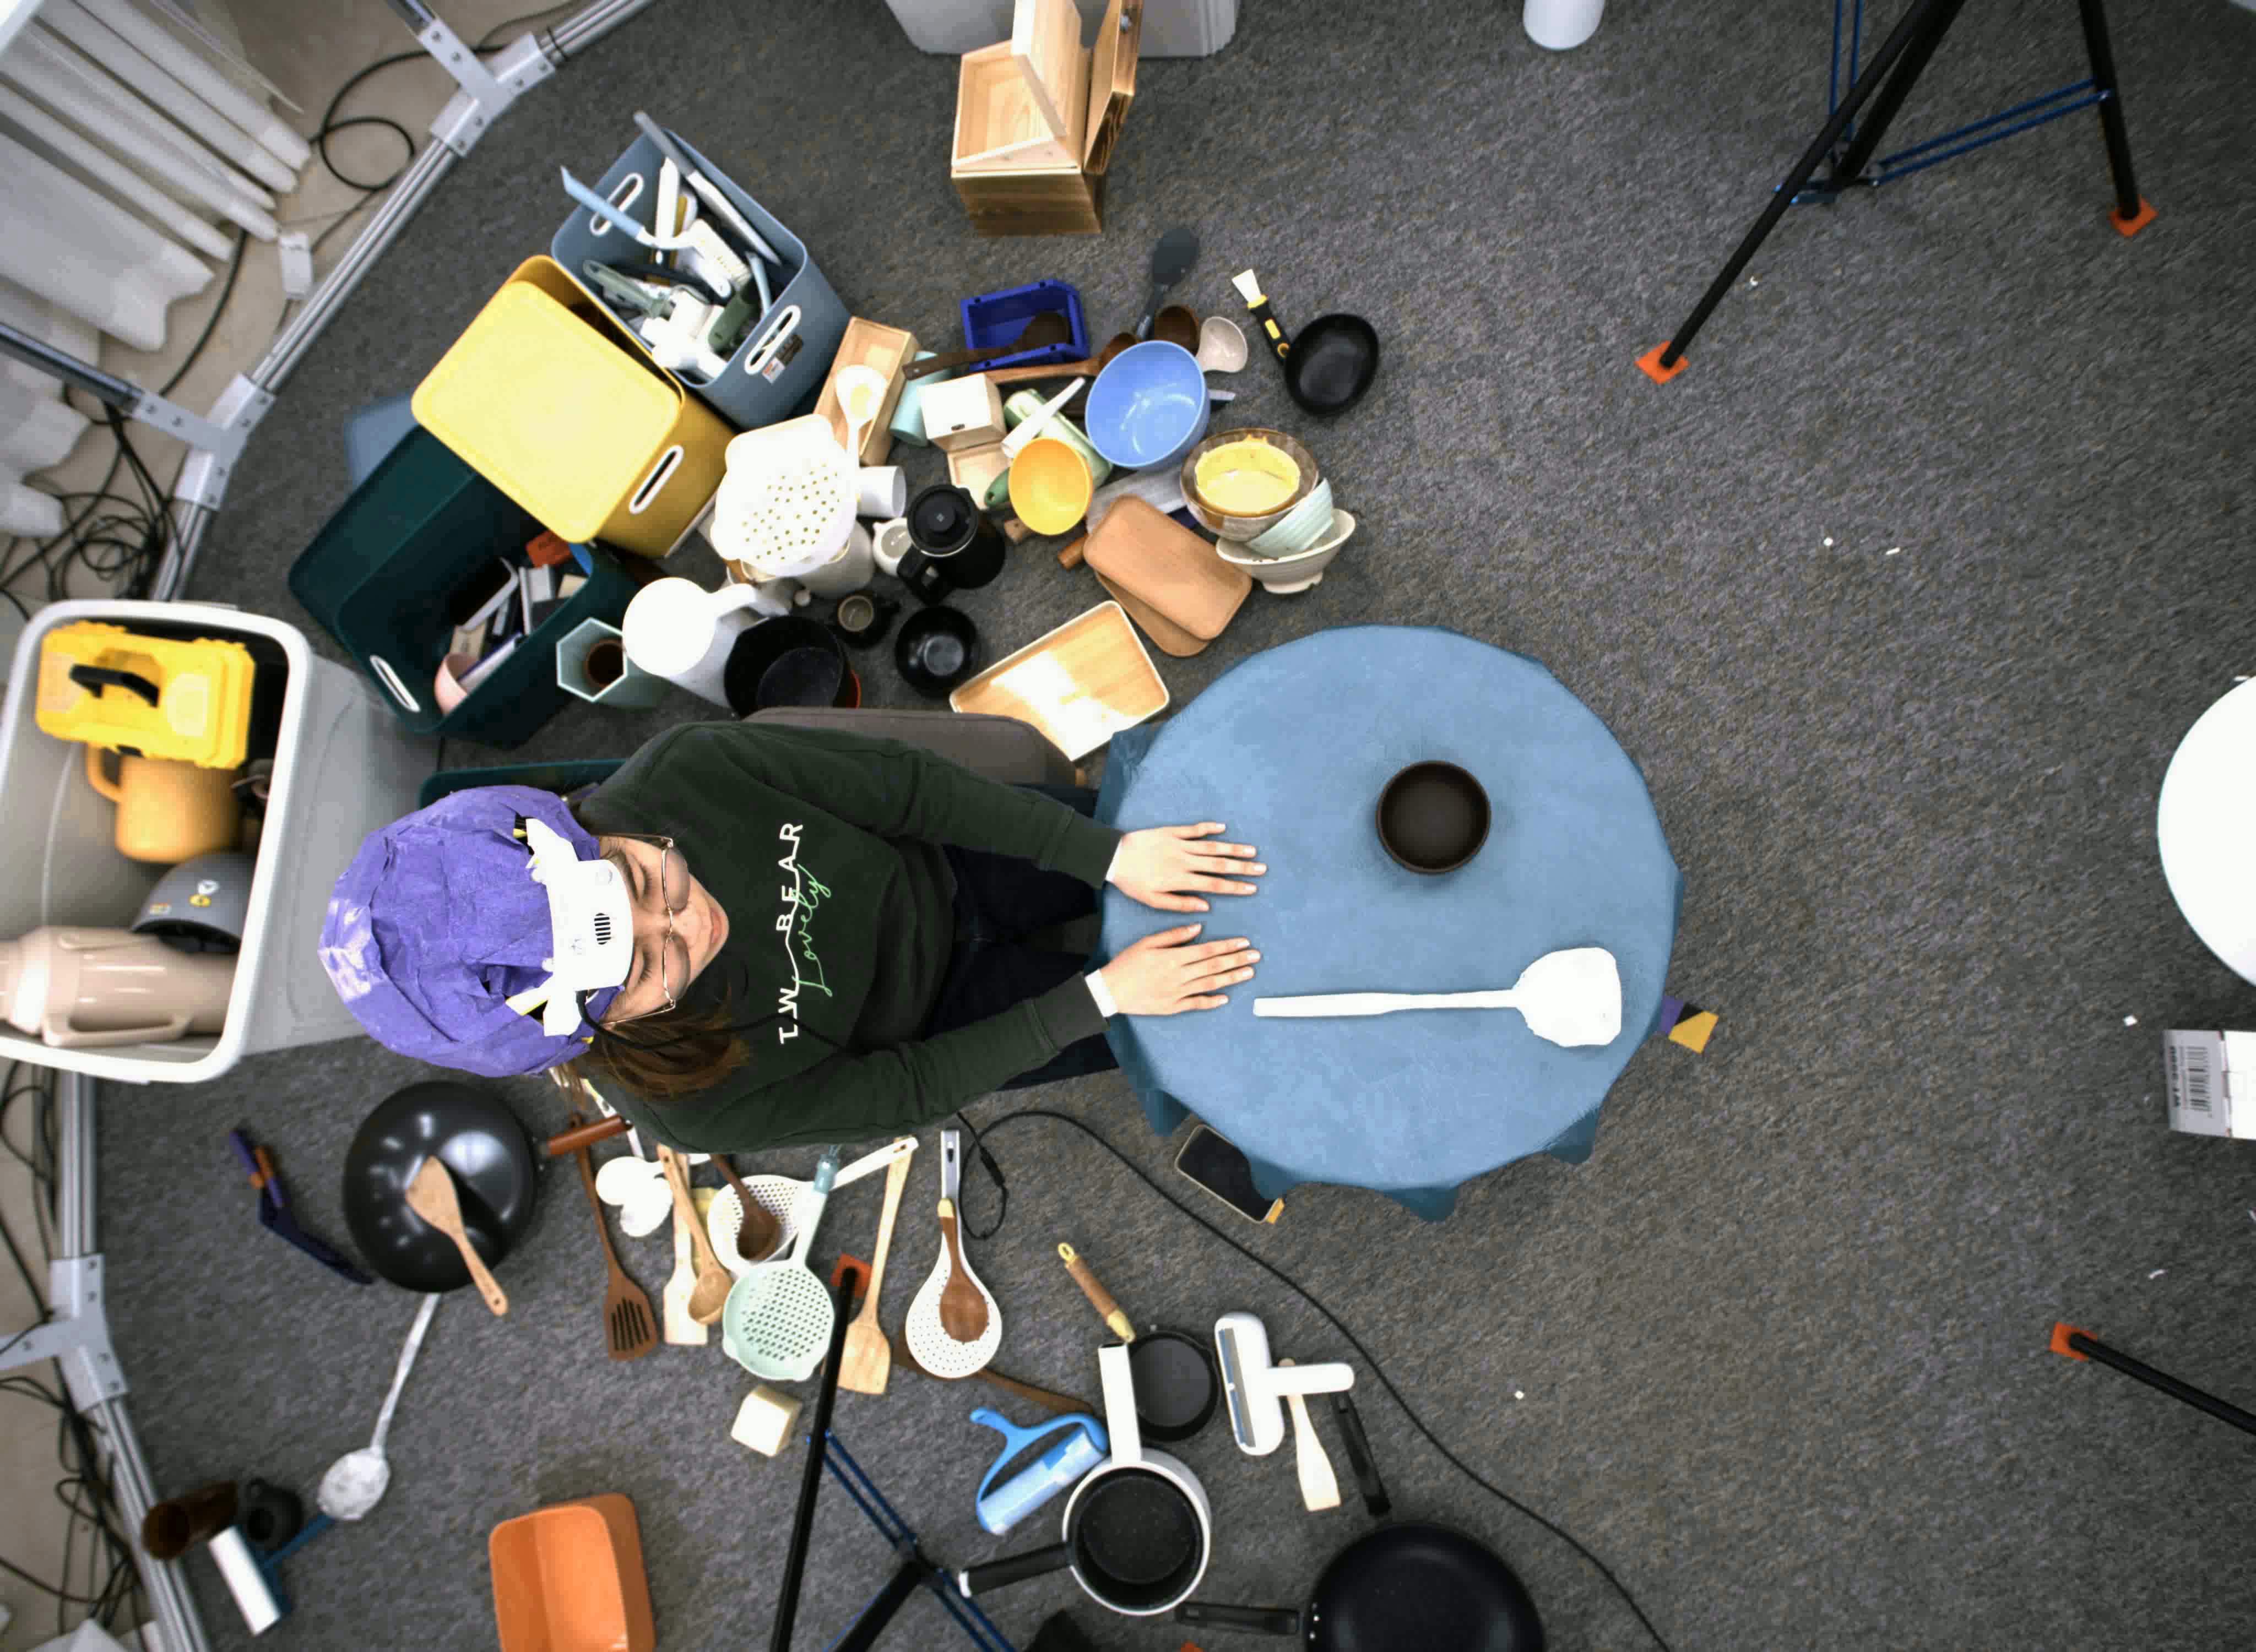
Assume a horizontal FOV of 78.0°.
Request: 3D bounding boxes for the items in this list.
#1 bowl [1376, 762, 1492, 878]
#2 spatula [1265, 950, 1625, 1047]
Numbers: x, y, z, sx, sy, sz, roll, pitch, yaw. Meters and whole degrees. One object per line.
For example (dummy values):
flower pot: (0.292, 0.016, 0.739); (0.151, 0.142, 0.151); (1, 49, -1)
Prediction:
bowl: (0.316, -0.005, 1.425); (0.118, 0.070, 0.117); (-1, 84, 11)
spatula: (0.322, 0.178, 1.428); (0.366, 0.045, 0.098); (-2, 87, 10)
